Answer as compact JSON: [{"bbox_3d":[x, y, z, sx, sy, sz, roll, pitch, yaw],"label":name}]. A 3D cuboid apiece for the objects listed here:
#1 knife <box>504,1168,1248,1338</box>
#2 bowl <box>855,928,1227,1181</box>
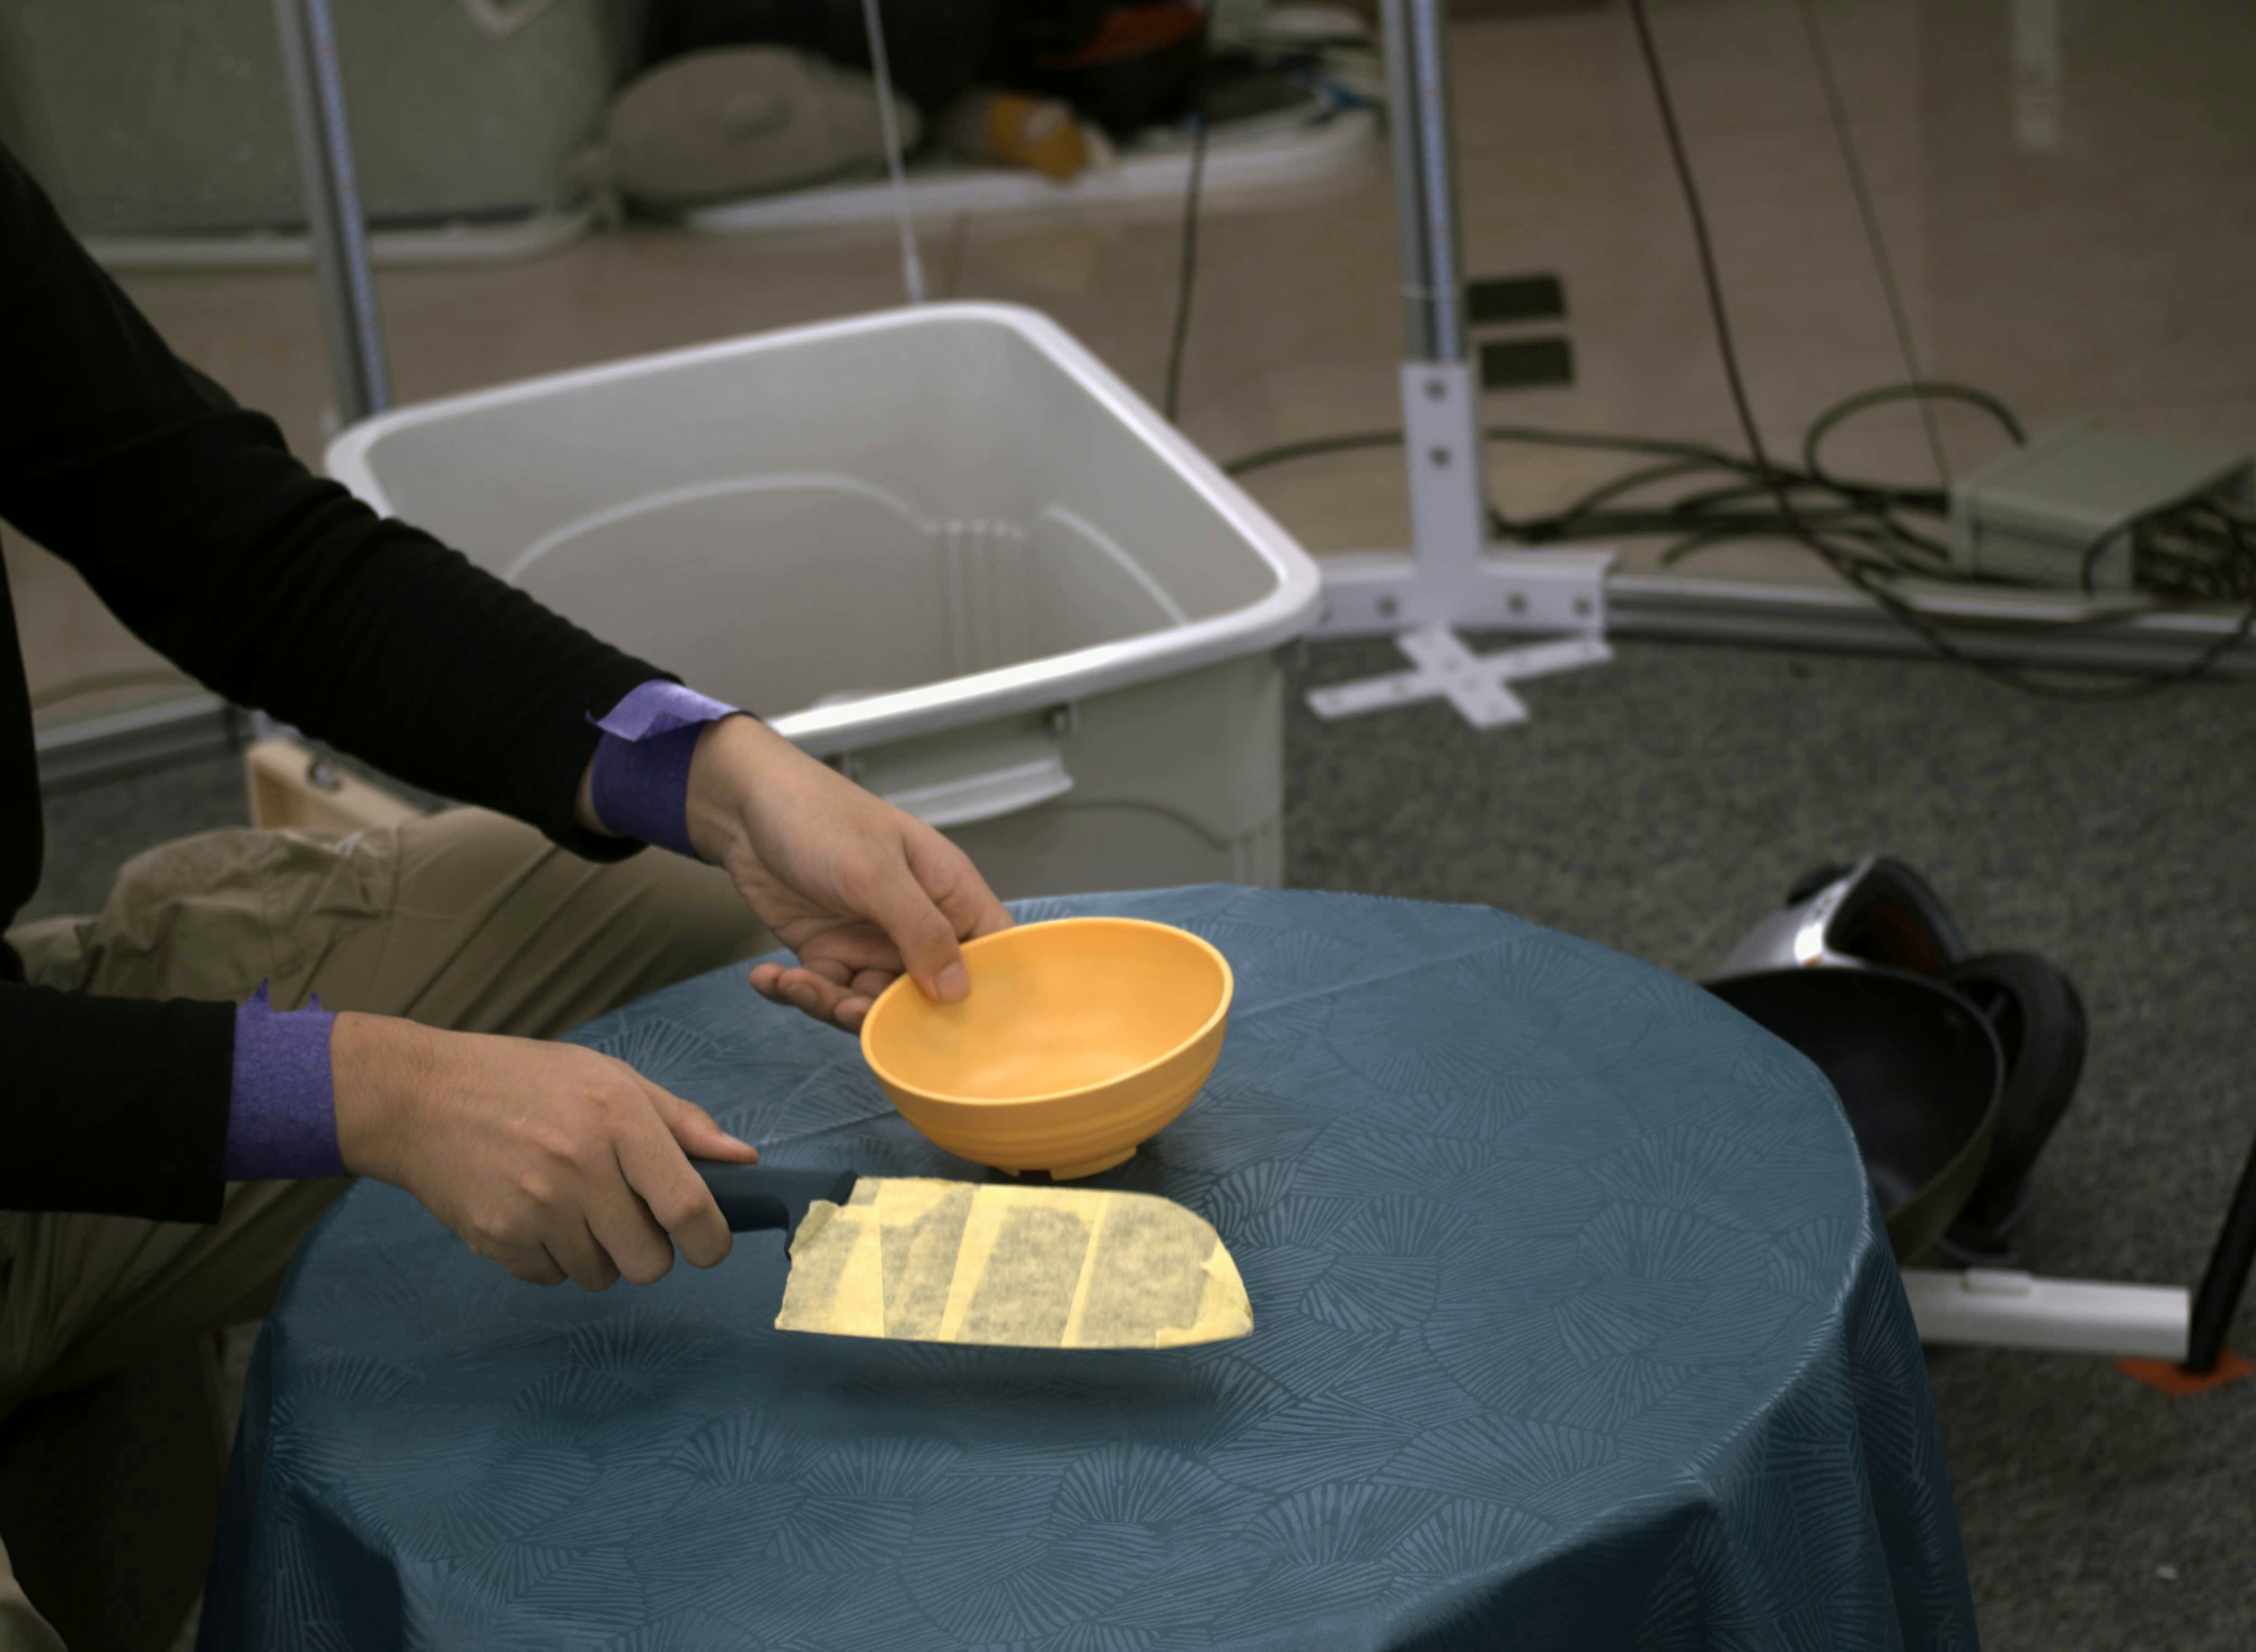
[{"bbox_3d":[-0.094,0.152,2.031,0.289,0.028,0.079,3,45,18],"label":"knife"},{"bbox_3d":[-0.030,0.095,2.176,0.145,0.061,0.143,-7,25,3],"label":"bowl"}]
